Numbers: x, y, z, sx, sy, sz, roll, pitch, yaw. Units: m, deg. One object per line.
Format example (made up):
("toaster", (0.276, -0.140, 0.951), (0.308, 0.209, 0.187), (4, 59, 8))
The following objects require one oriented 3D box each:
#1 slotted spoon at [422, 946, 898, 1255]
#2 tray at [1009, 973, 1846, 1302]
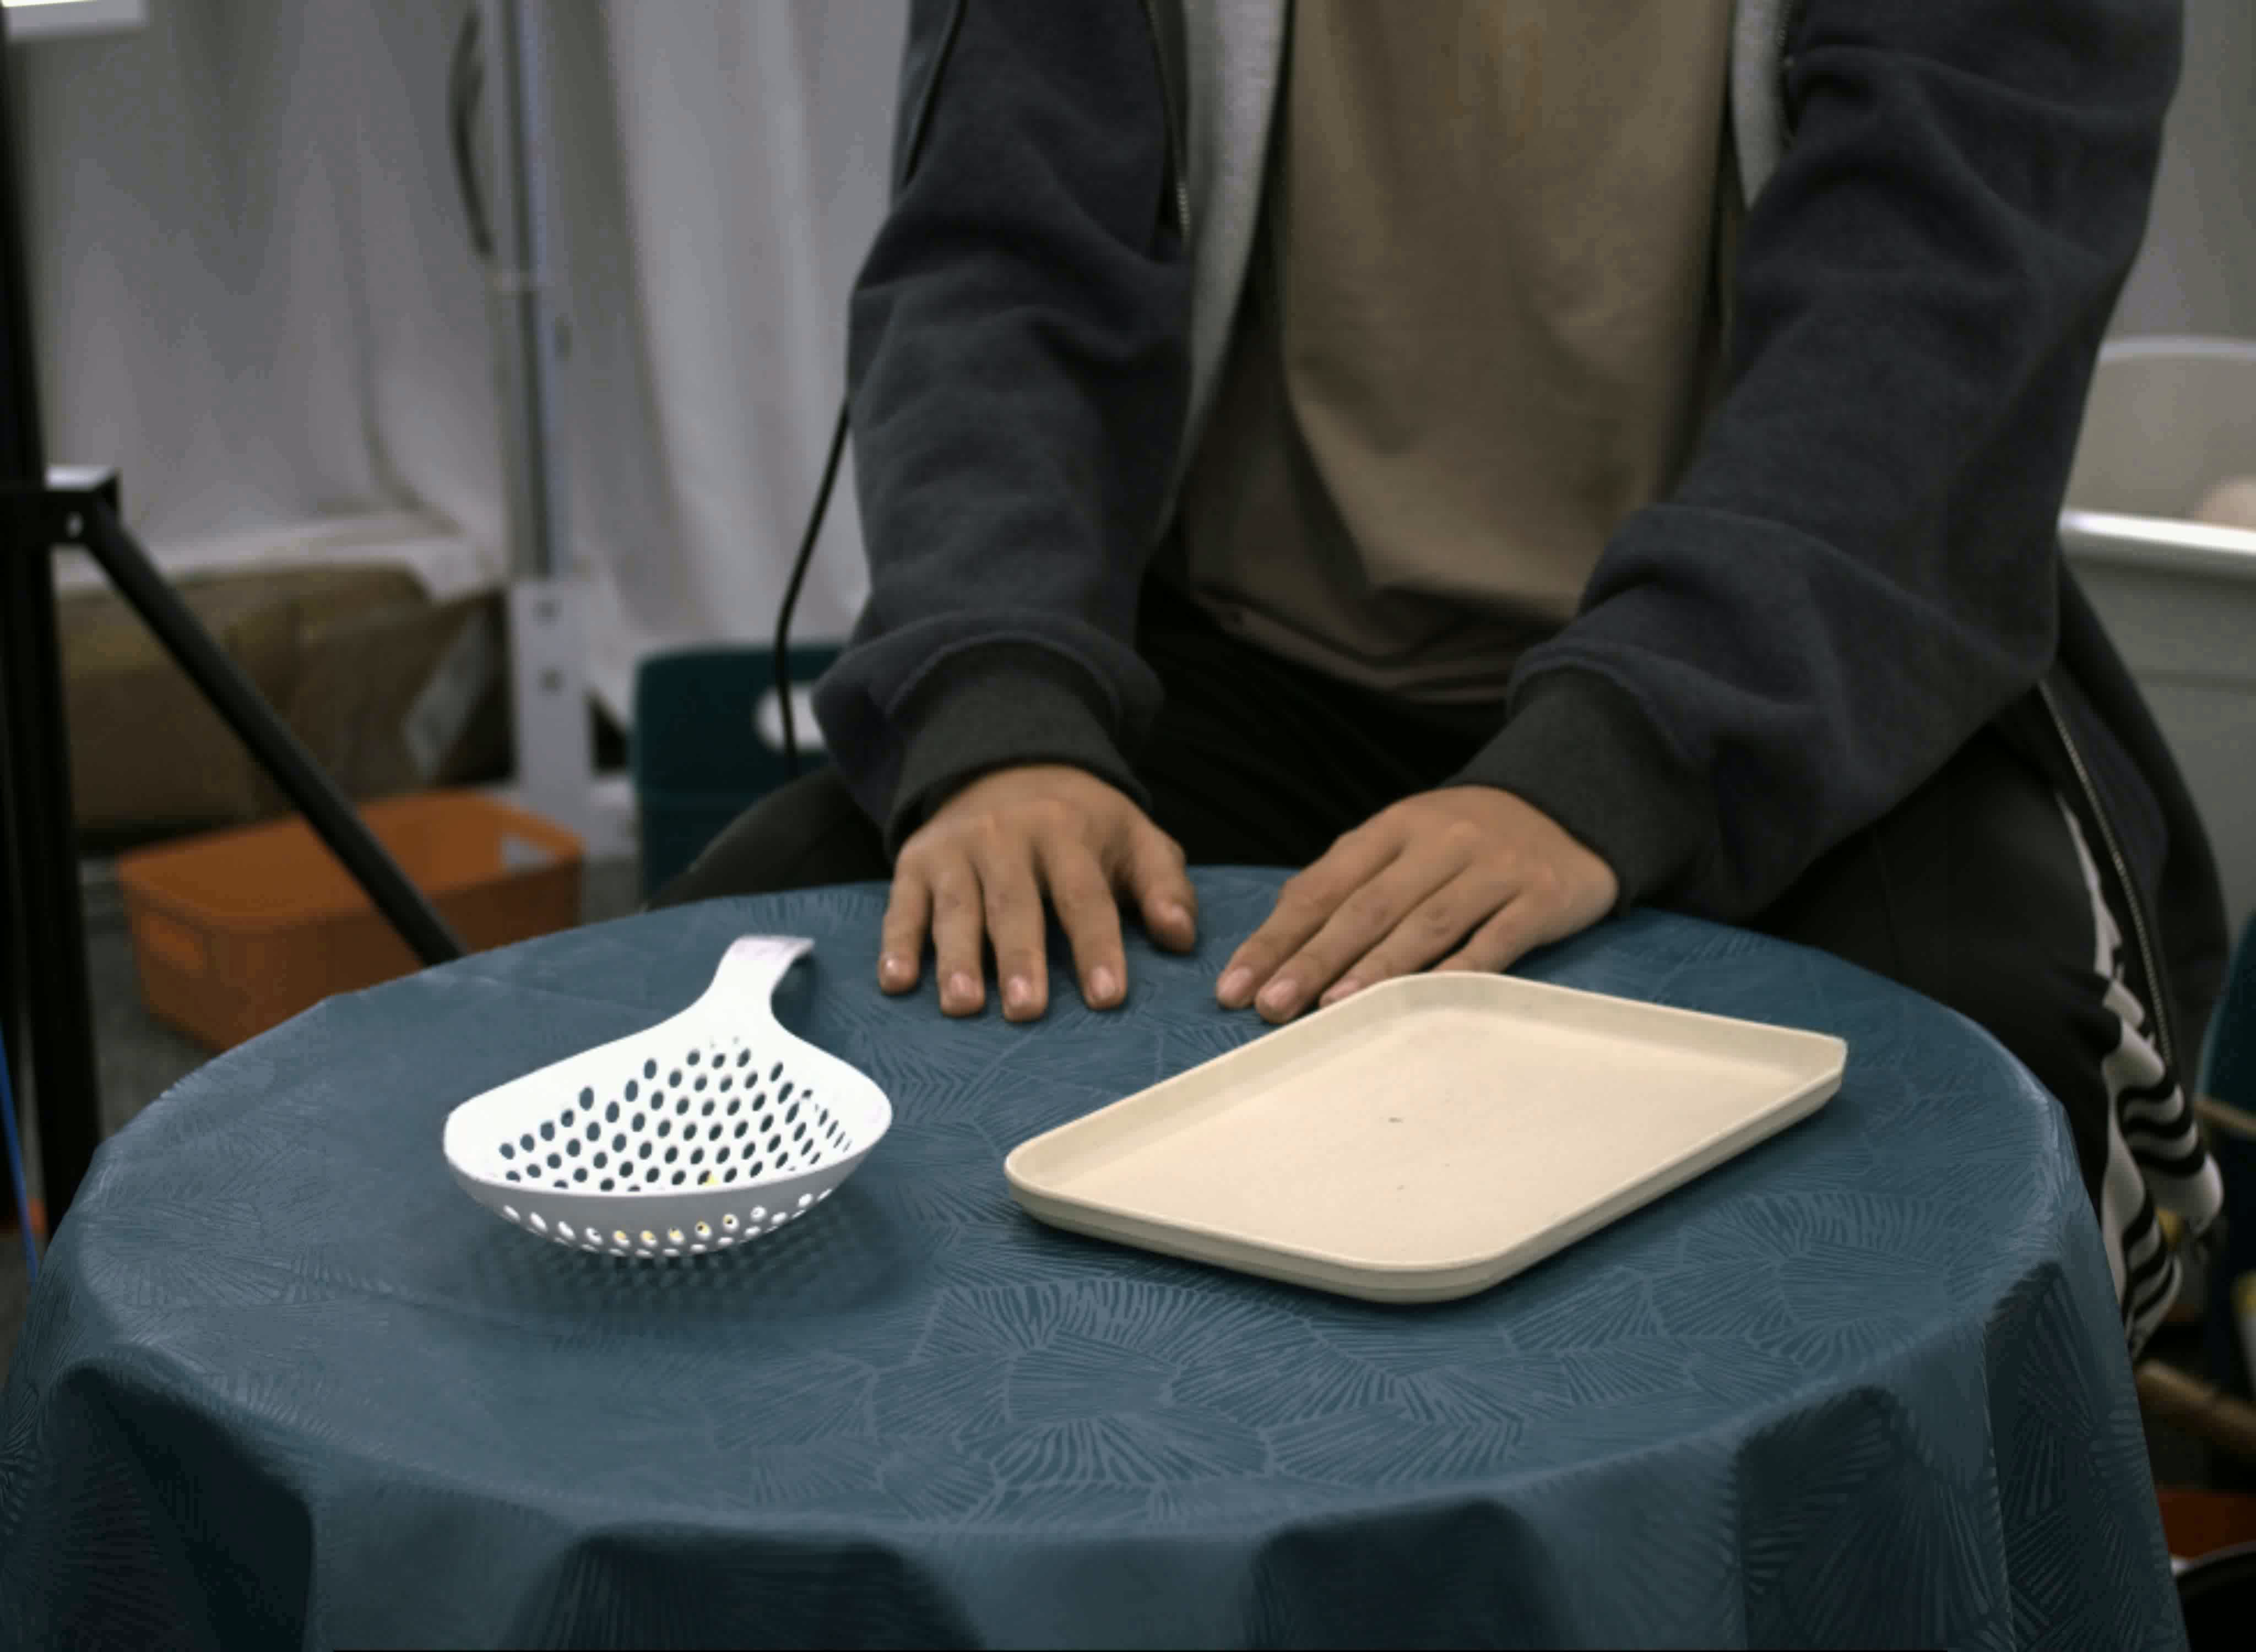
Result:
("slotted spoon", (-0.126, 0.070, 1.638), (0.137, 0.050, 0.348), (-3, 16, 5))
("tray", (0.092, 0.091, 1.572), (0.175, 0.017, 0.234), (9, 20, 38))
